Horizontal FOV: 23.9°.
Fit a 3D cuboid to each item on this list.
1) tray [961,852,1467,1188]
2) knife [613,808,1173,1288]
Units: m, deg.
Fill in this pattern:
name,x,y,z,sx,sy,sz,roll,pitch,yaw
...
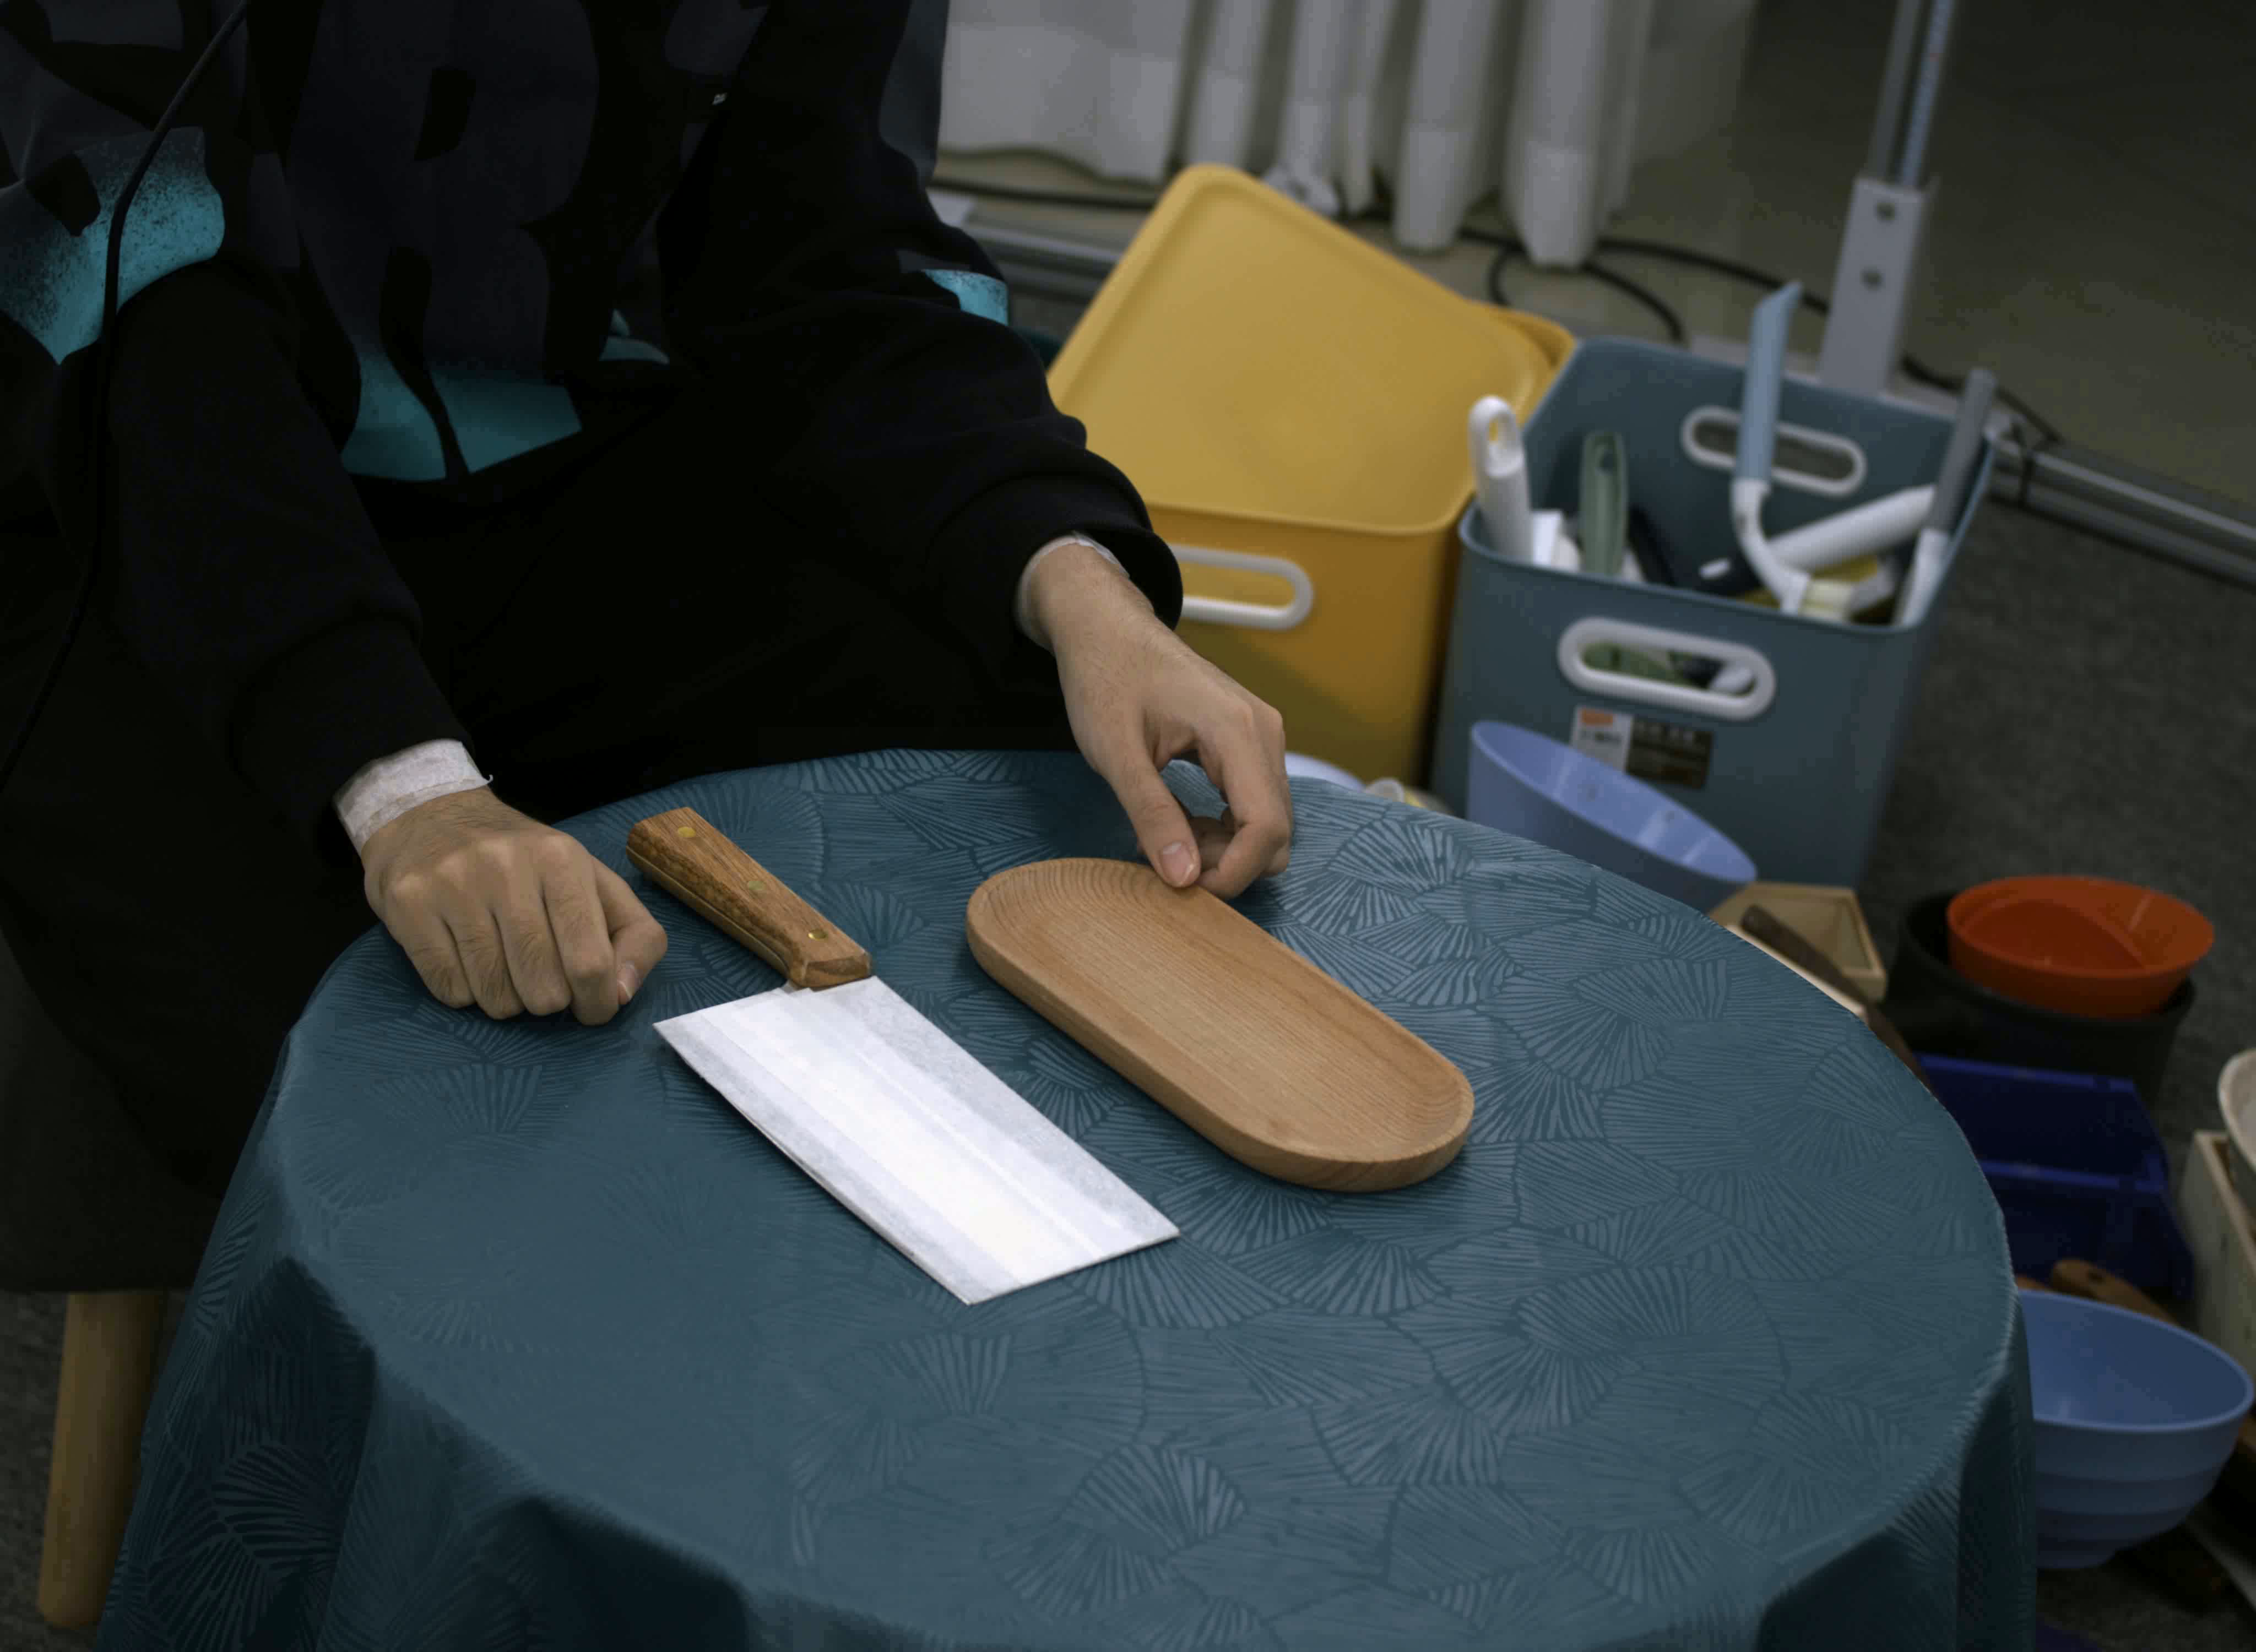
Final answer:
name,x,y,z,sx,sy,sz,roll,pitch,yaw
tray,0.028,0.067,1.900,0.101,0.020,0.233,-13,32,-35
knife,-0.107,0.076,1.854,0.092,0.021,0.308,-16,37,-34
